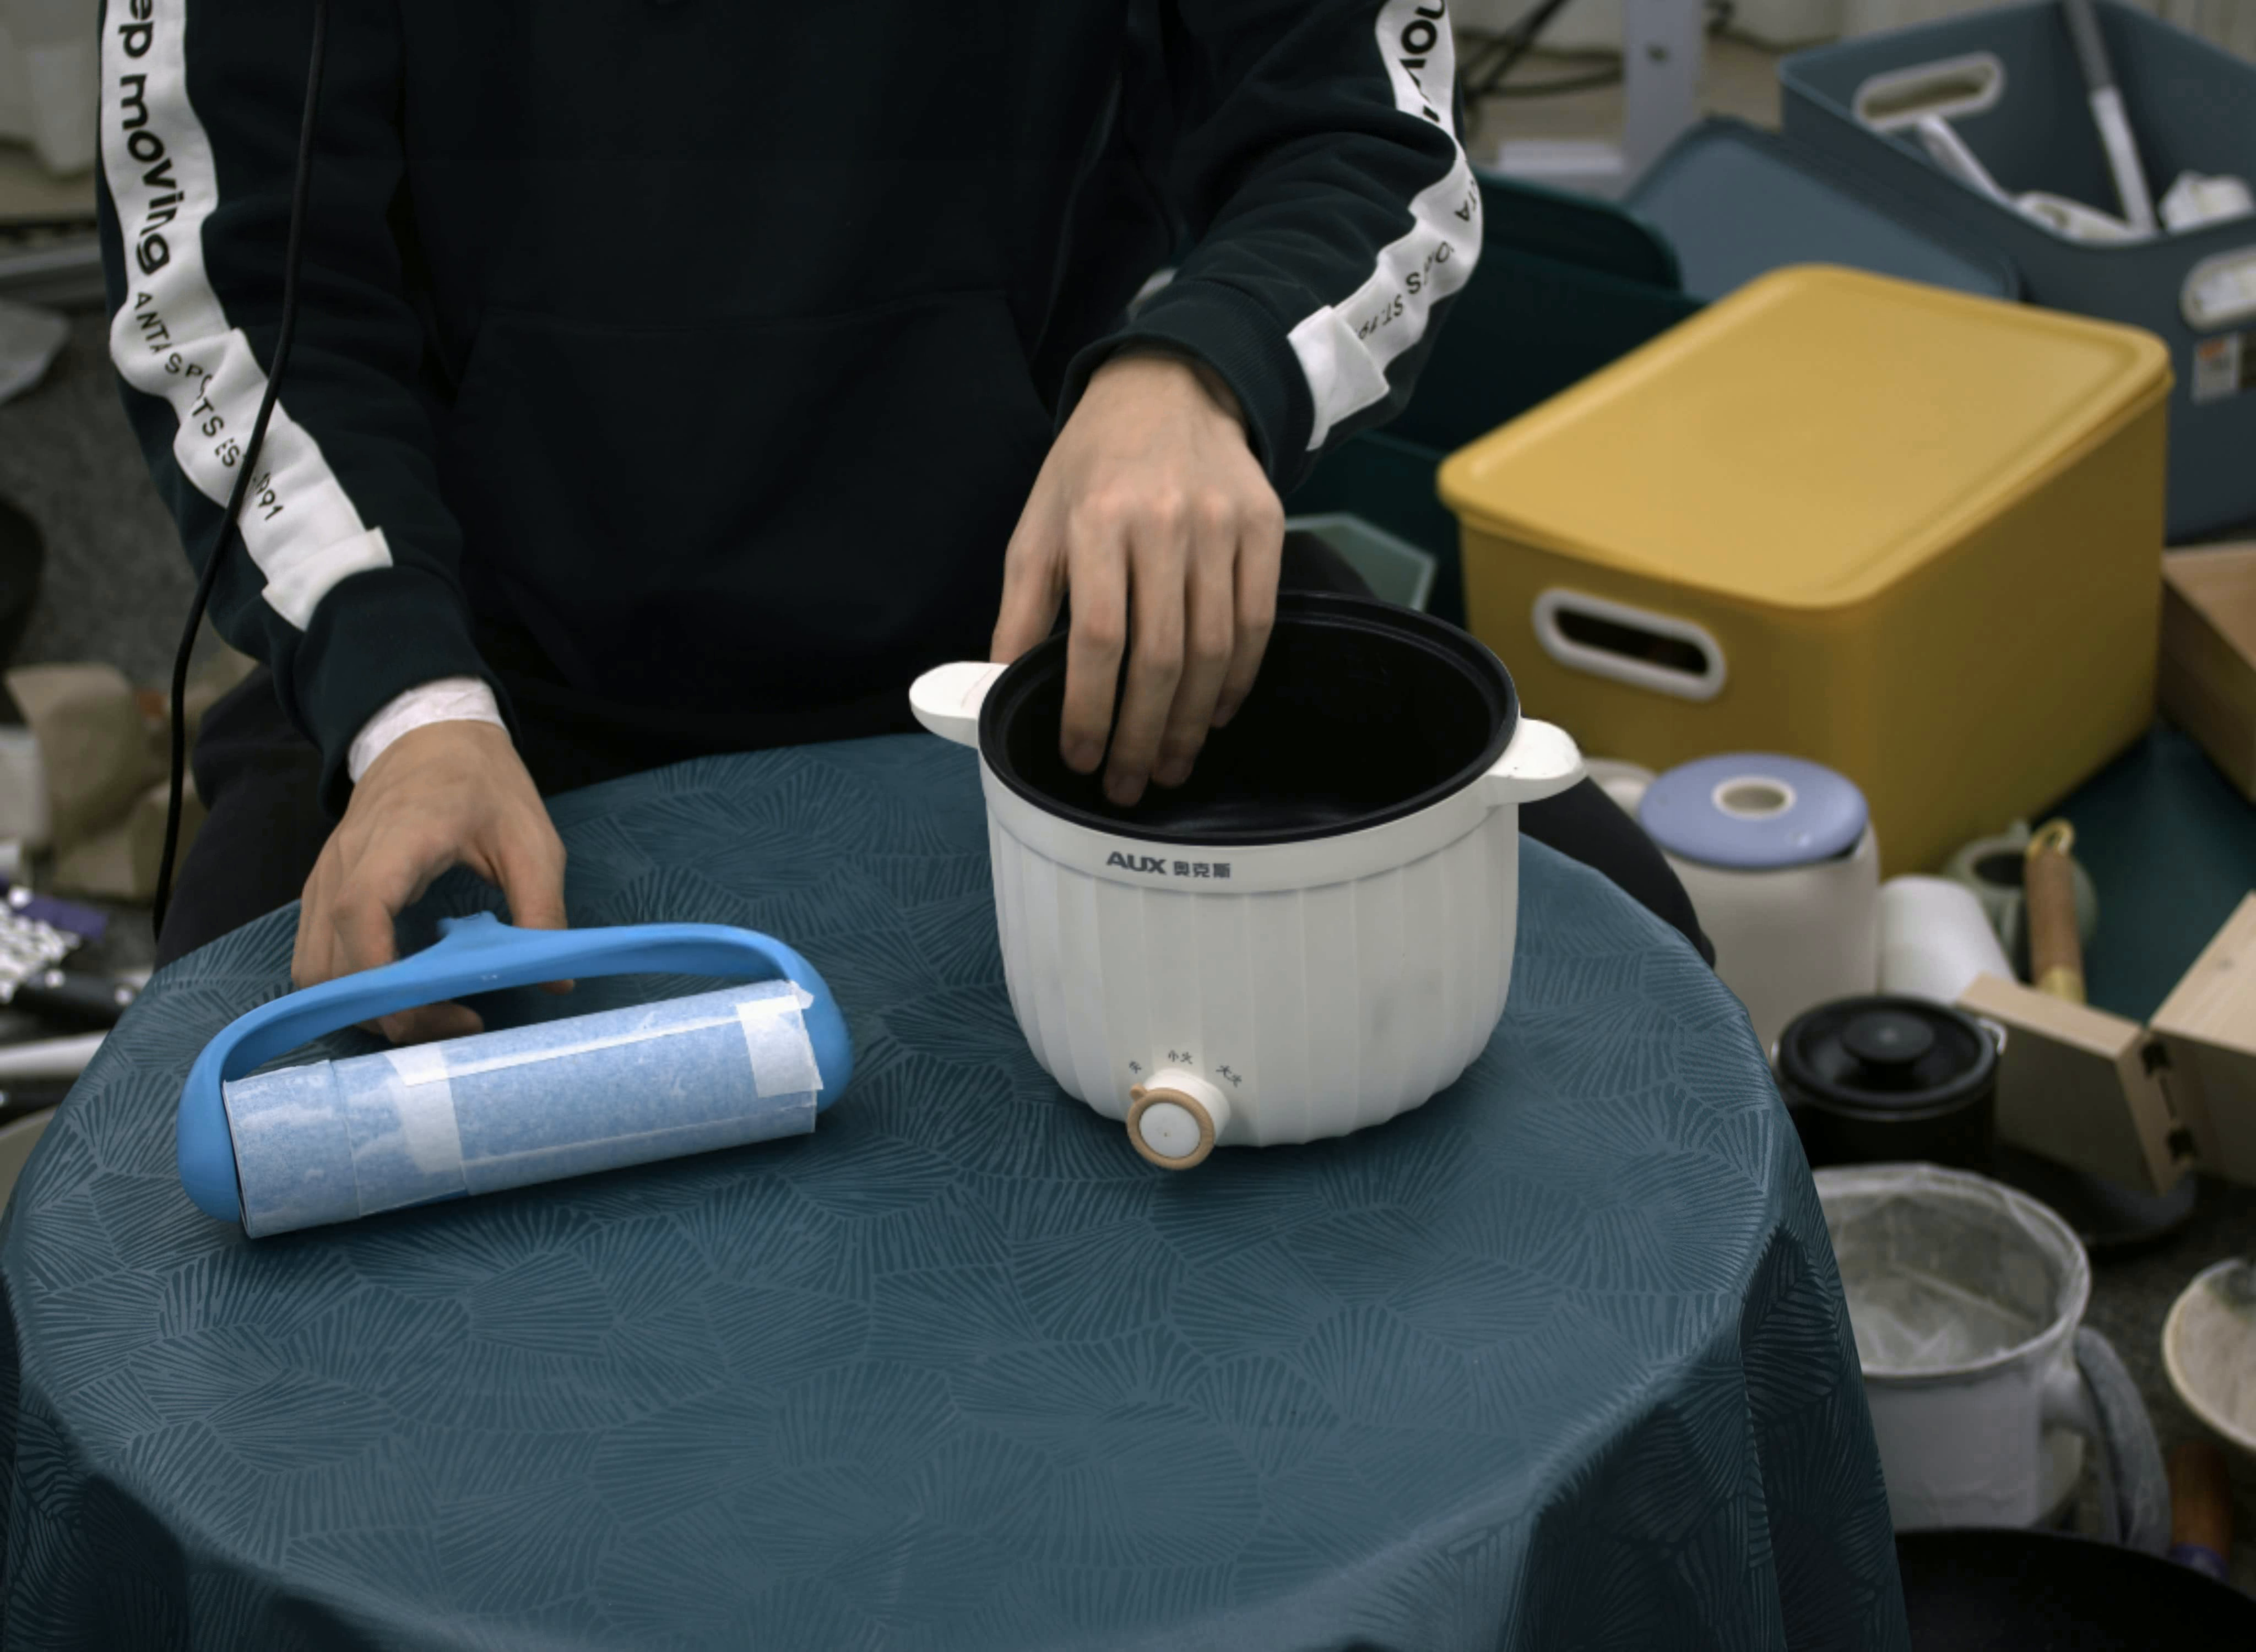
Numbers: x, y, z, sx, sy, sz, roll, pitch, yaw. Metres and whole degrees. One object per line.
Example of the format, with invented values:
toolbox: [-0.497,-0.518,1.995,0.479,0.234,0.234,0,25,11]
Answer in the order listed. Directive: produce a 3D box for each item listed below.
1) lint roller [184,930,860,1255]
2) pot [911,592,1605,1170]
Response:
lint roller: [-0.220,0.070,1.921,0.229,0.067,0.182,-14,29,-16]
pot: [0.044,0.022,1.899,0.238,0.141,0.193,4,25,17]
